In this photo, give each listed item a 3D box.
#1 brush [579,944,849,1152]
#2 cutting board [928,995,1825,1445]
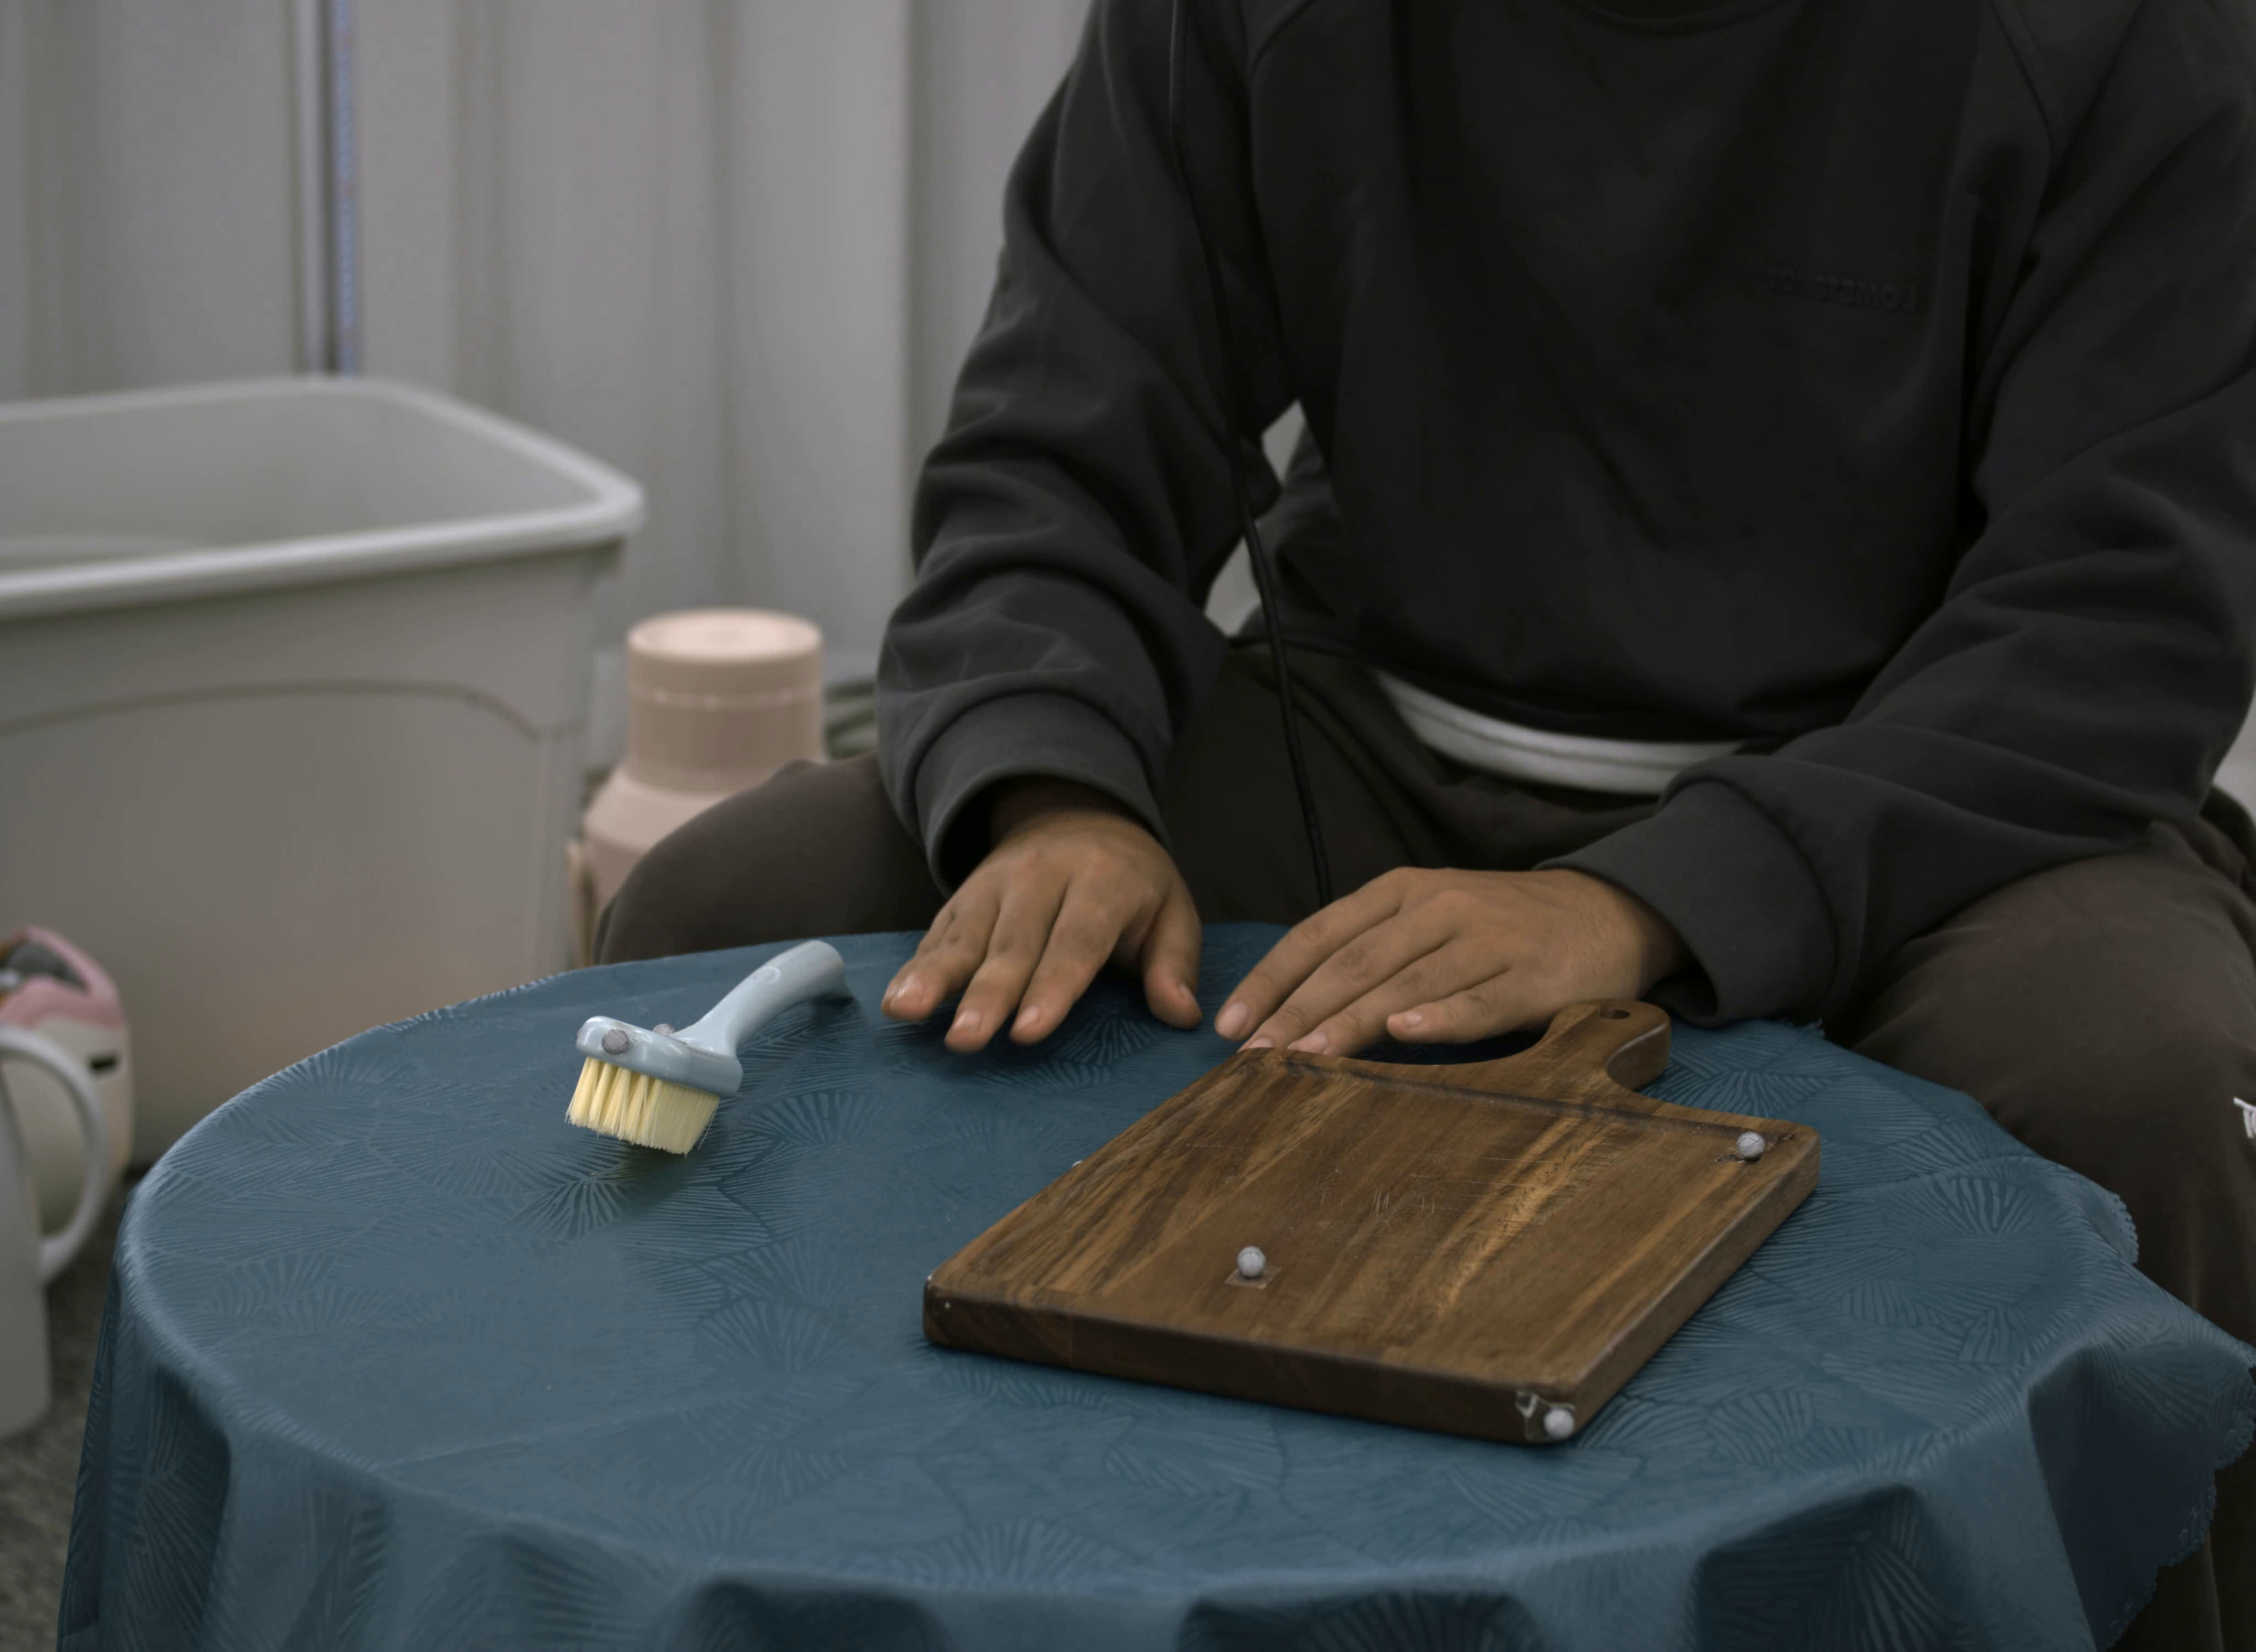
[{"bbox_3d":[-0.132,0.072,1.707,0.037,0.050,0.229,16,10,10],"label":"brush"},{"bbox_3d":[0.100,0.108,1.609,0.199,0.023,0.353,8,17,23],"label":"cutting board"}]
